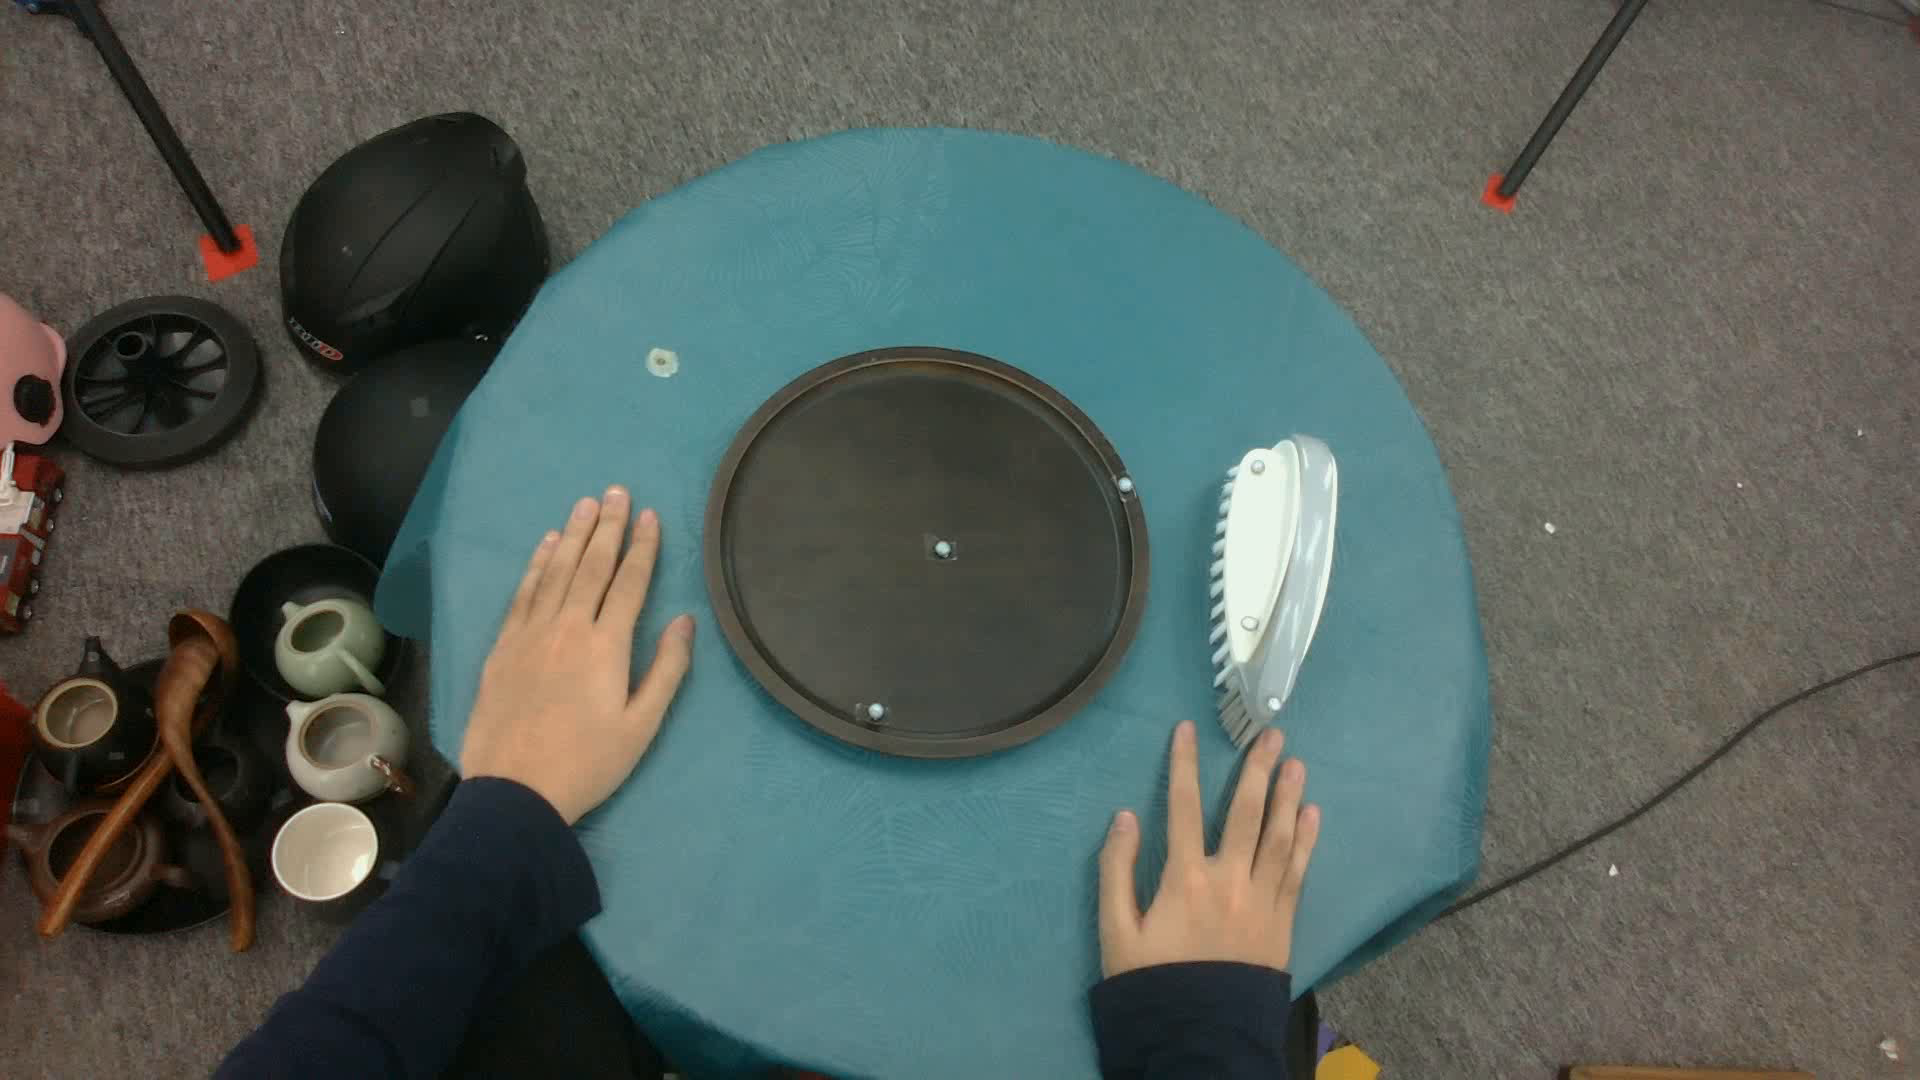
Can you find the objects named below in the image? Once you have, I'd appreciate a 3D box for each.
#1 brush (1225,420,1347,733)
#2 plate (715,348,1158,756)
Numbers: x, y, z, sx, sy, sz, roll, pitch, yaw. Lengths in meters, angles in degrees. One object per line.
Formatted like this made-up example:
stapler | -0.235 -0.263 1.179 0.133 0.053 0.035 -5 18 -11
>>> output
brush | 0.185 0.014 0.771 0.061 0.094 0.176 13 67 -1
plate | -0.012 0.002 0.788 0.255 0.029 0.255 3 64 -7
